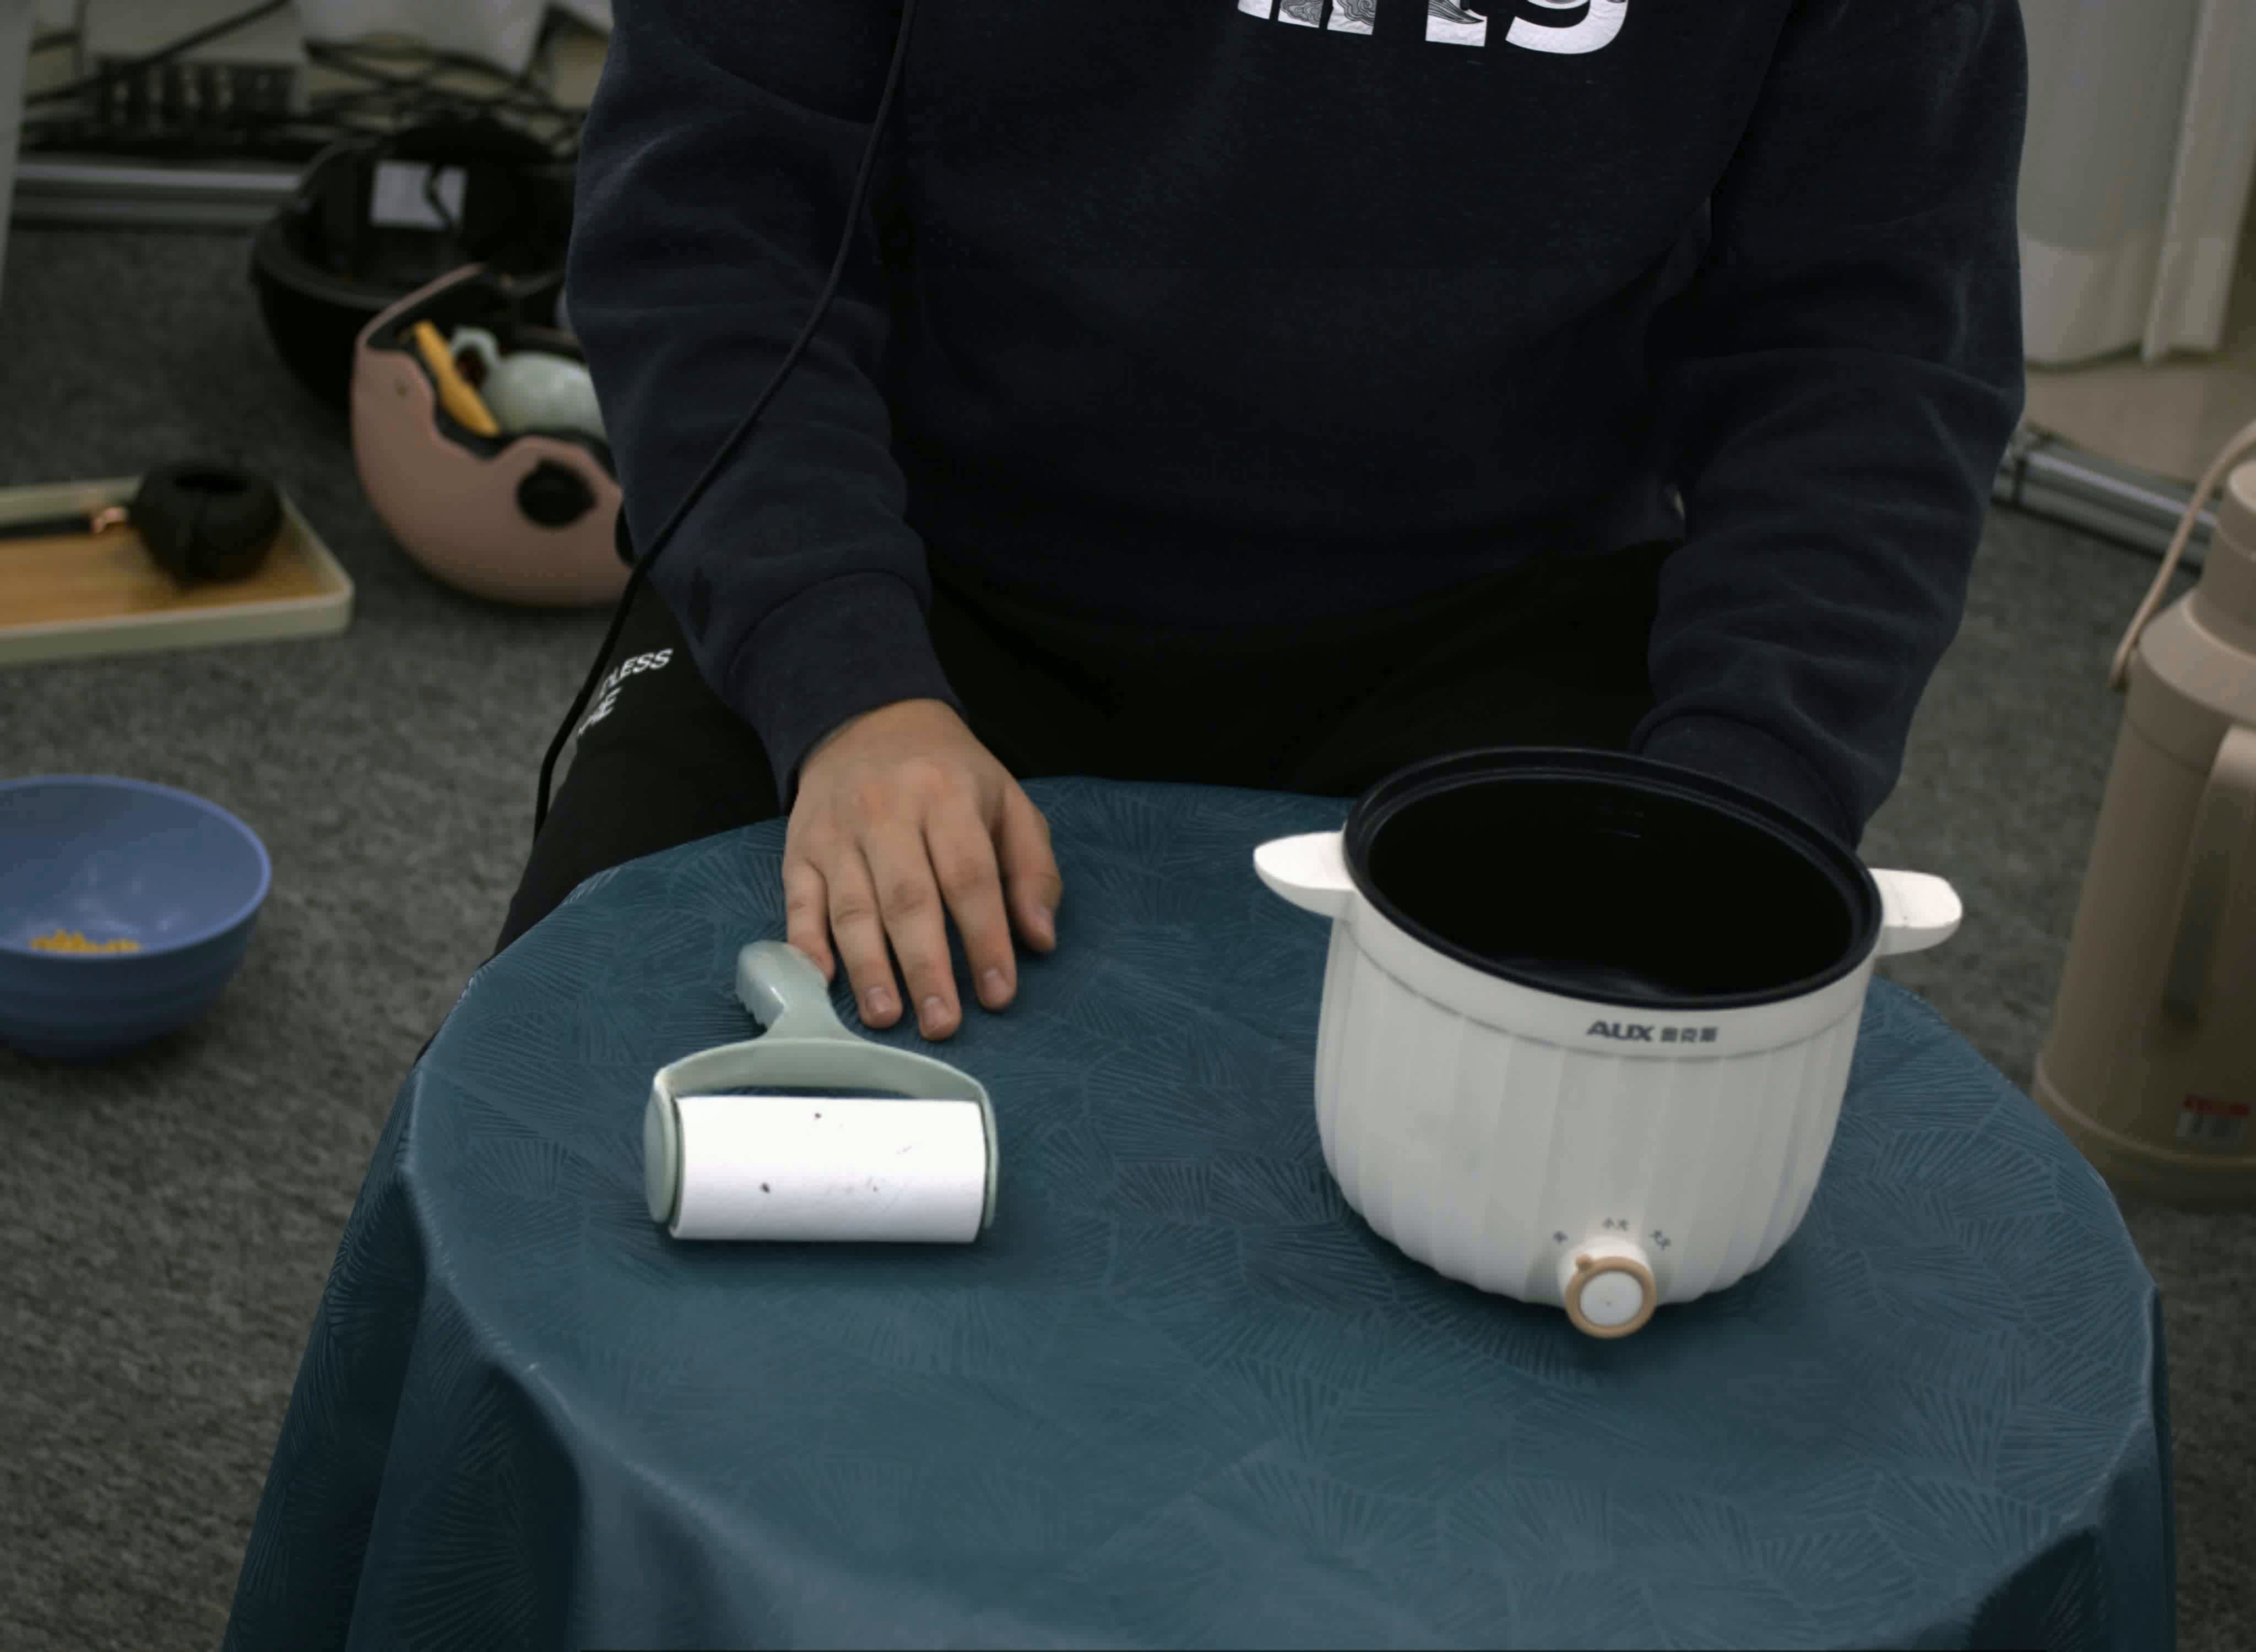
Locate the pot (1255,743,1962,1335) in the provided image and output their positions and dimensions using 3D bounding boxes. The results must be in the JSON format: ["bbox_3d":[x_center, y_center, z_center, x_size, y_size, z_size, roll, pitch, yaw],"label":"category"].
[{"bbox_3d":[0.155,0.074,1.788,0.239,0.142,0.192,2,24,-6],"label":"pot"}]

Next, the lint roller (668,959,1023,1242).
[{"bbox_3d":[-0.105,0.082,1.817,0.116,0.048,0.199,-1,25,-11],"label":"lint roller"}]
